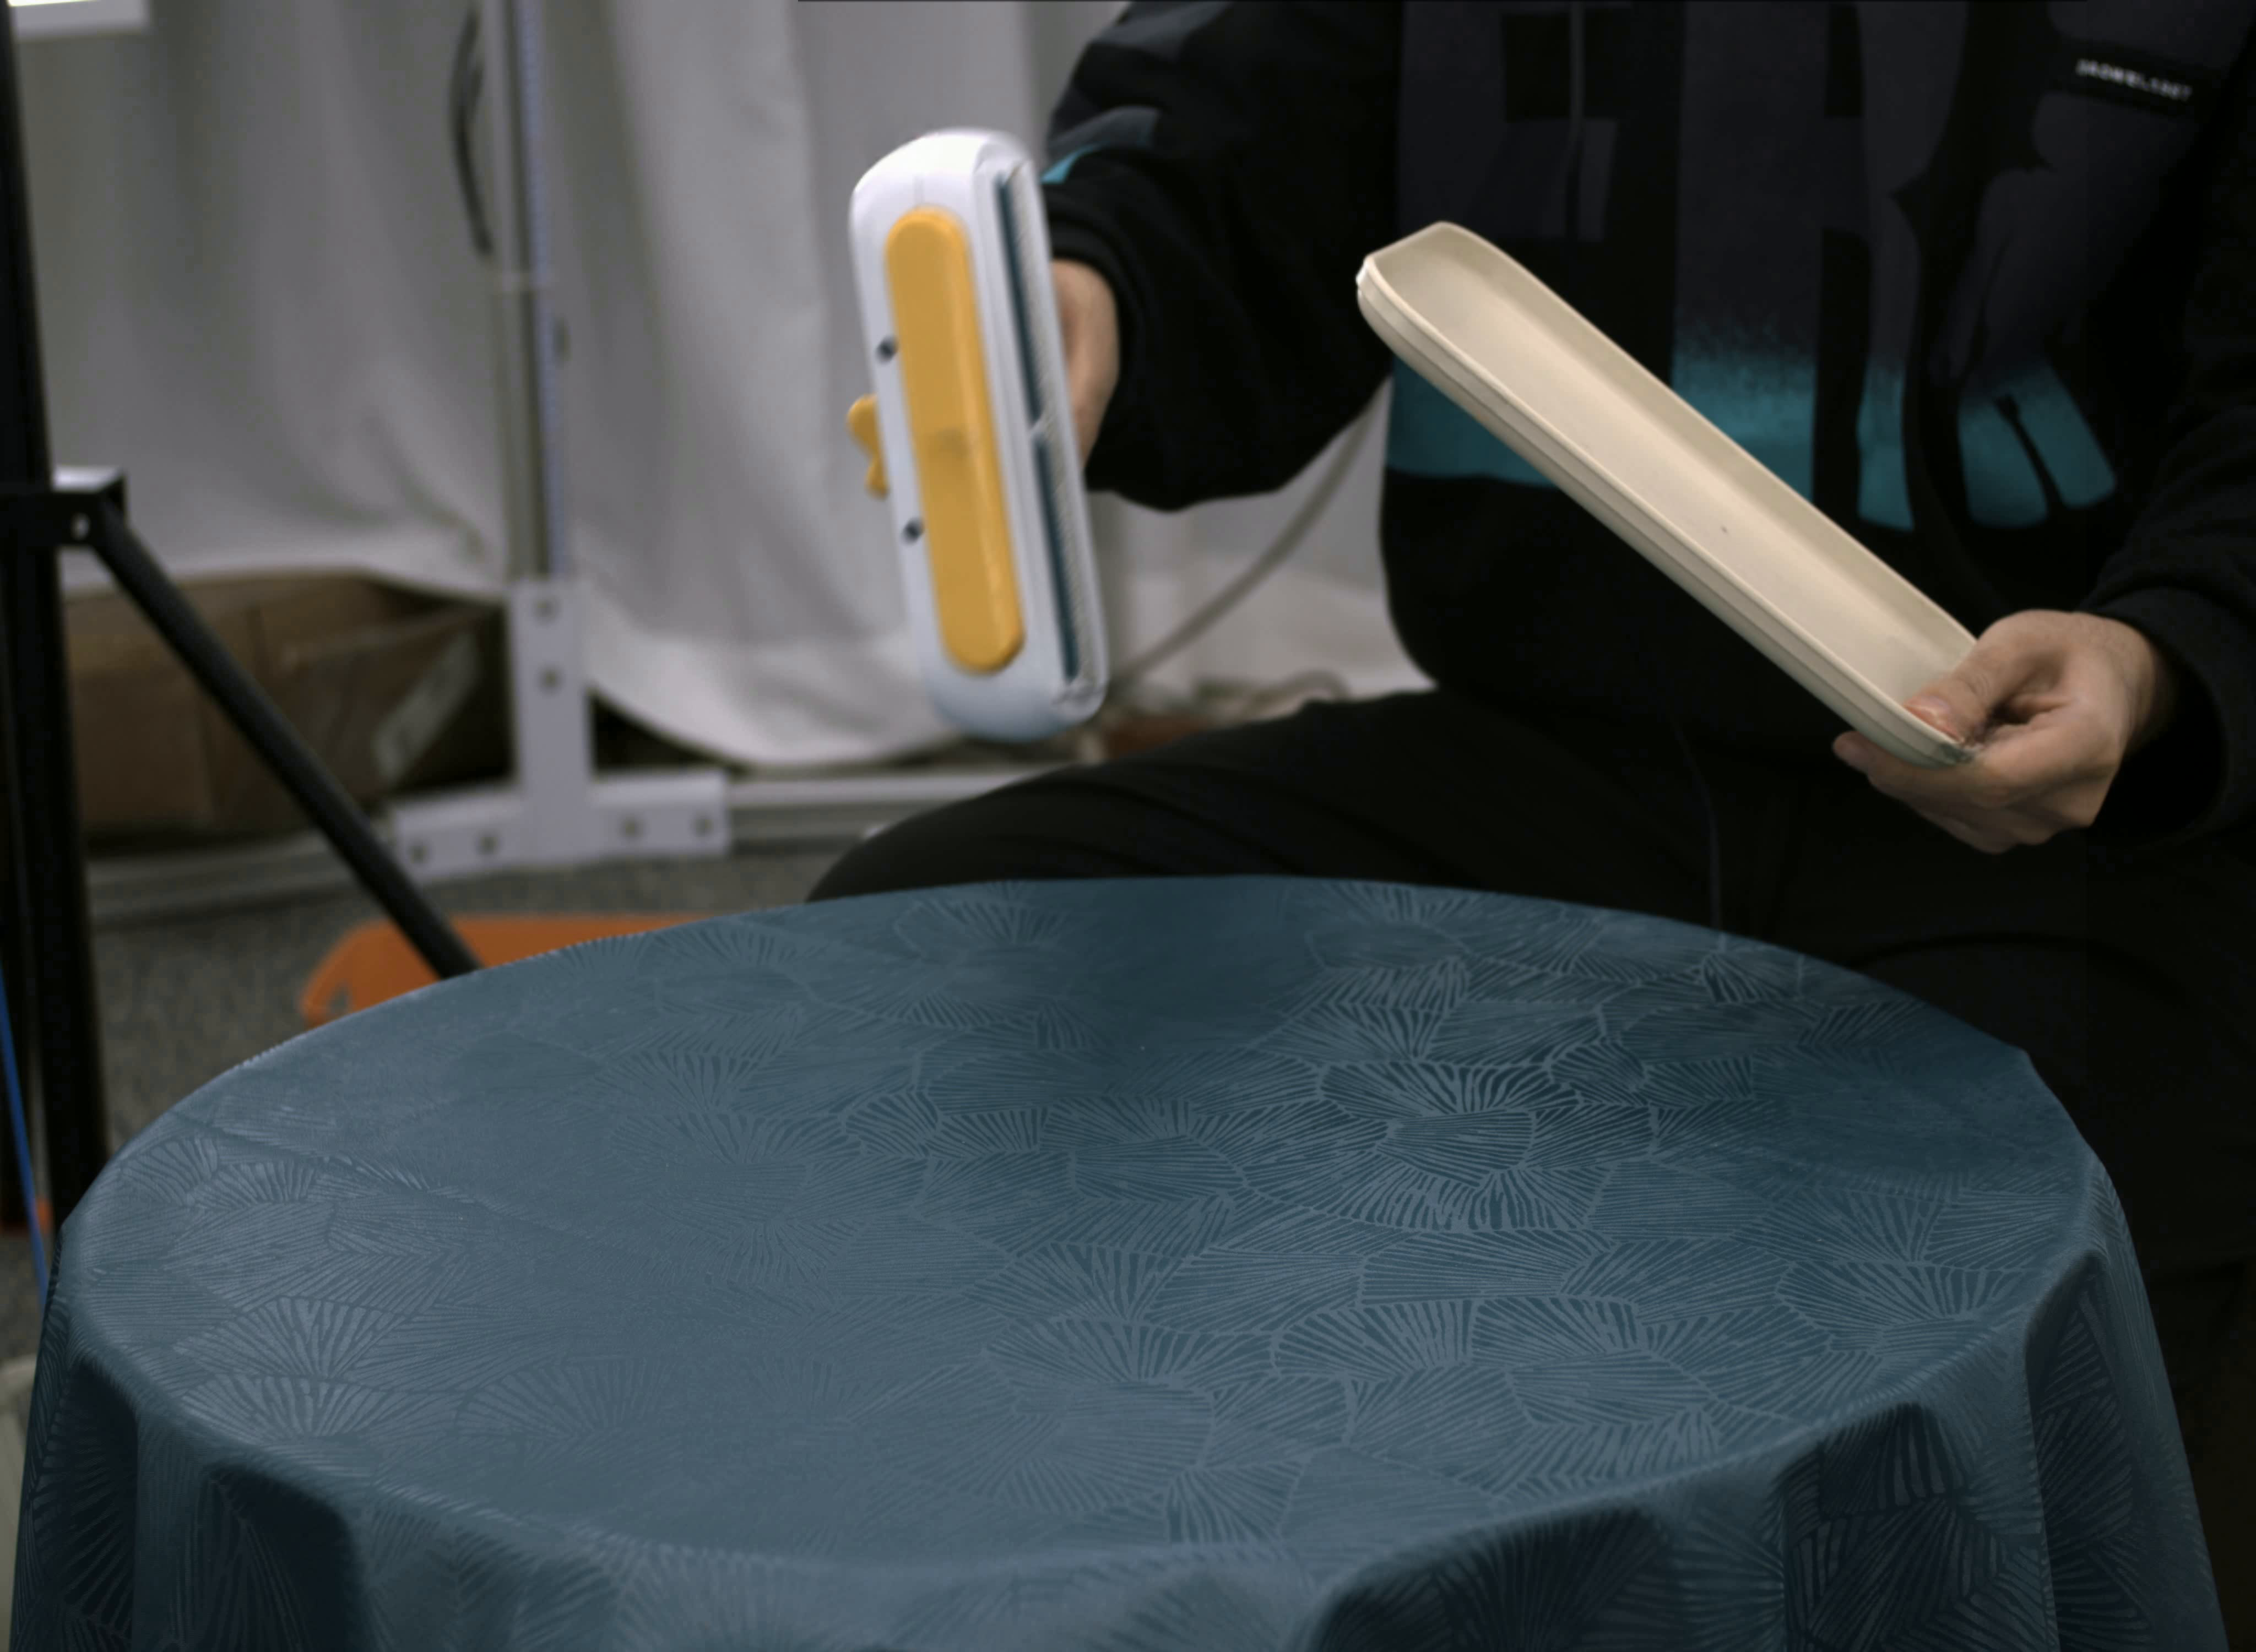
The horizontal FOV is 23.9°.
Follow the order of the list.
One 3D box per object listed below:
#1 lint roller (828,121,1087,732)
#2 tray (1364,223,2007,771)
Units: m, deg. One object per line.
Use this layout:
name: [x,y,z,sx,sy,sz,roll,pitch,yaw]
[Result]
lint roller: [-0.045,-0.127,1.751,0.074,0.194,0.190,-12,-1,14]
tray: [0.174,-0.102,1.659,0.240,0.017,0.169,40,17,6]
